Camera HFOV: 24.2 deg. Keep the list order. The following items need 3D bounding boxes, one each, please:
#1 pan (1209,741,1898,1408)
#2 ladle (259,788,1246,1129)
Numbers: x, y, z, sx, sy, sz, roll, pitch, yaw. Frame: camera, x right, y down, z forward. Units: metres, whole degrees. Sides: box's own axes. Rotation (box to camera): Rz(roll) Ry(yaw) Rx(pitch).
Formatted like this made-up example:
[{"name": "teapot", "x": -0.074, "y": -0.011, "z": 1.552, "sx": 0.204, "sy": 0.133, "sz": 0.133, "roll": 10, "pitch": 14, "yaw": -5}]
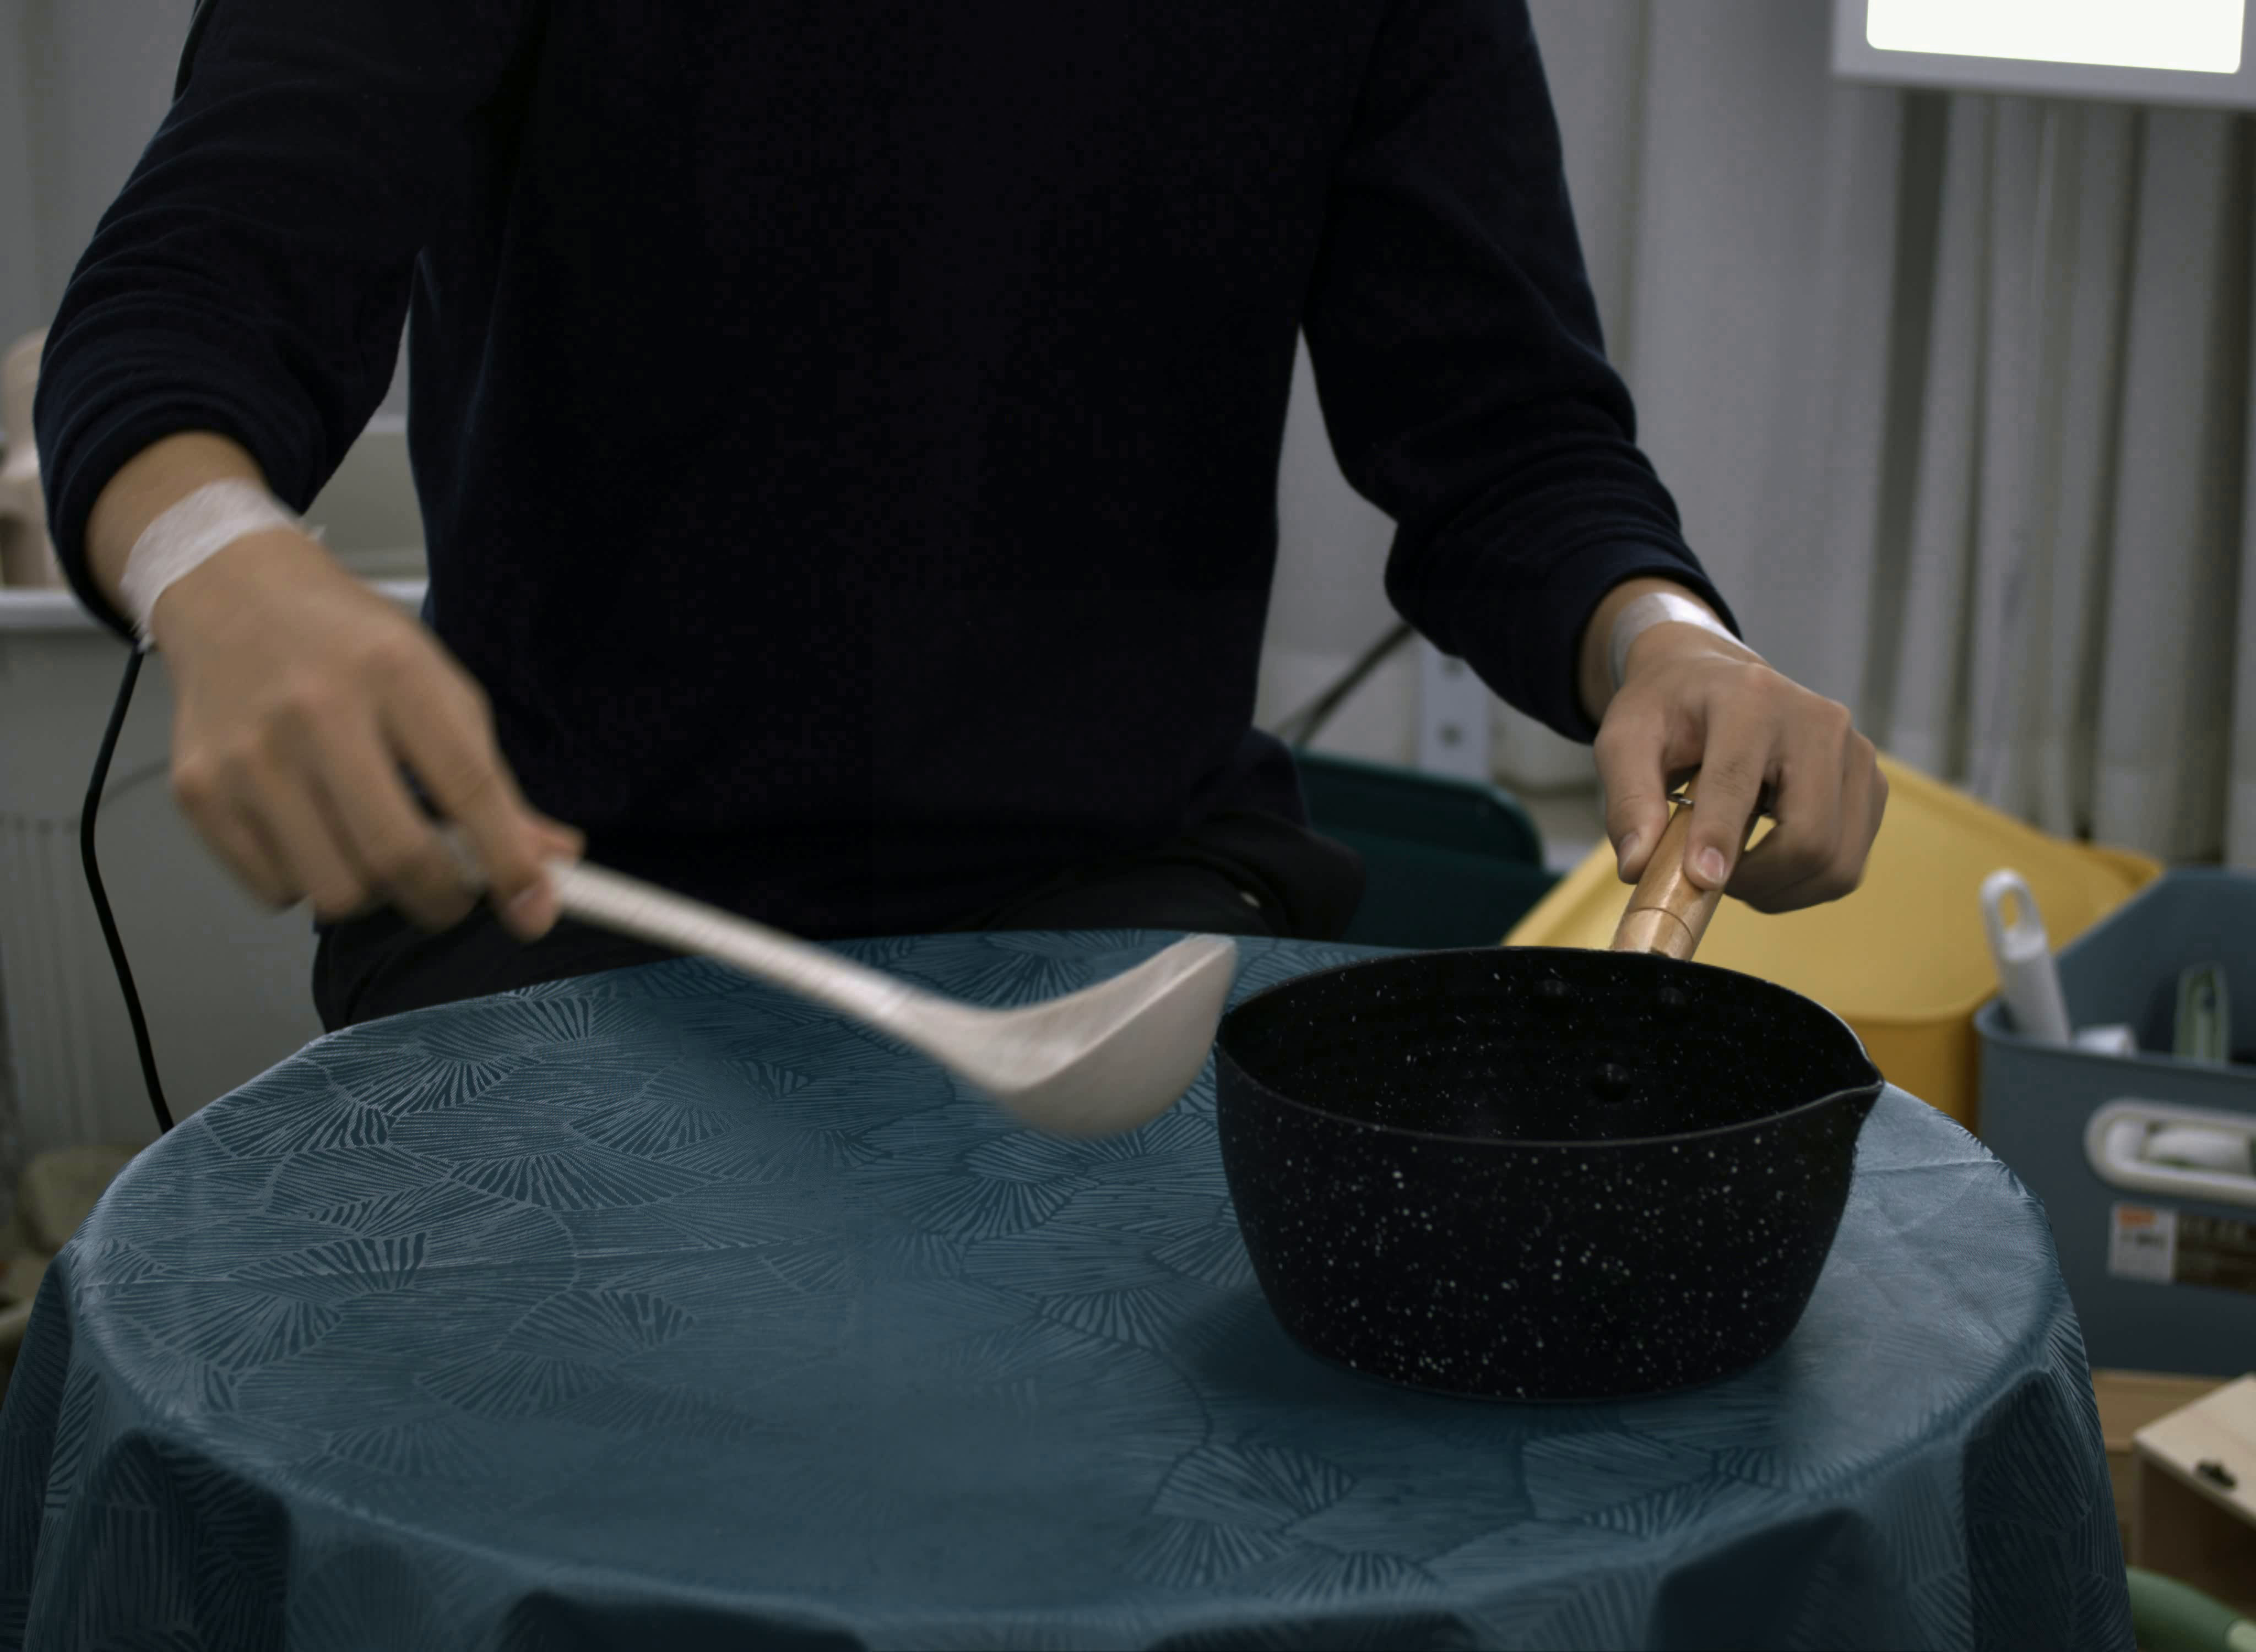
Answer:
[{"name": "pan", "x": 0.141, "y": 0.069, "z": 1.581, "sx": 0.205, "sy": 0.109, "sz": 0.343, "roll": 4, "pitch": 17, "yaw": 17}, {"name": "ladle", "x": -0.102, "y": 0.011, "z": 1.405, "sx": 0.273, "sy": 0.070, "sz": 0.089, "roll": 20, "pitch": 28, "yaw": 9}]
